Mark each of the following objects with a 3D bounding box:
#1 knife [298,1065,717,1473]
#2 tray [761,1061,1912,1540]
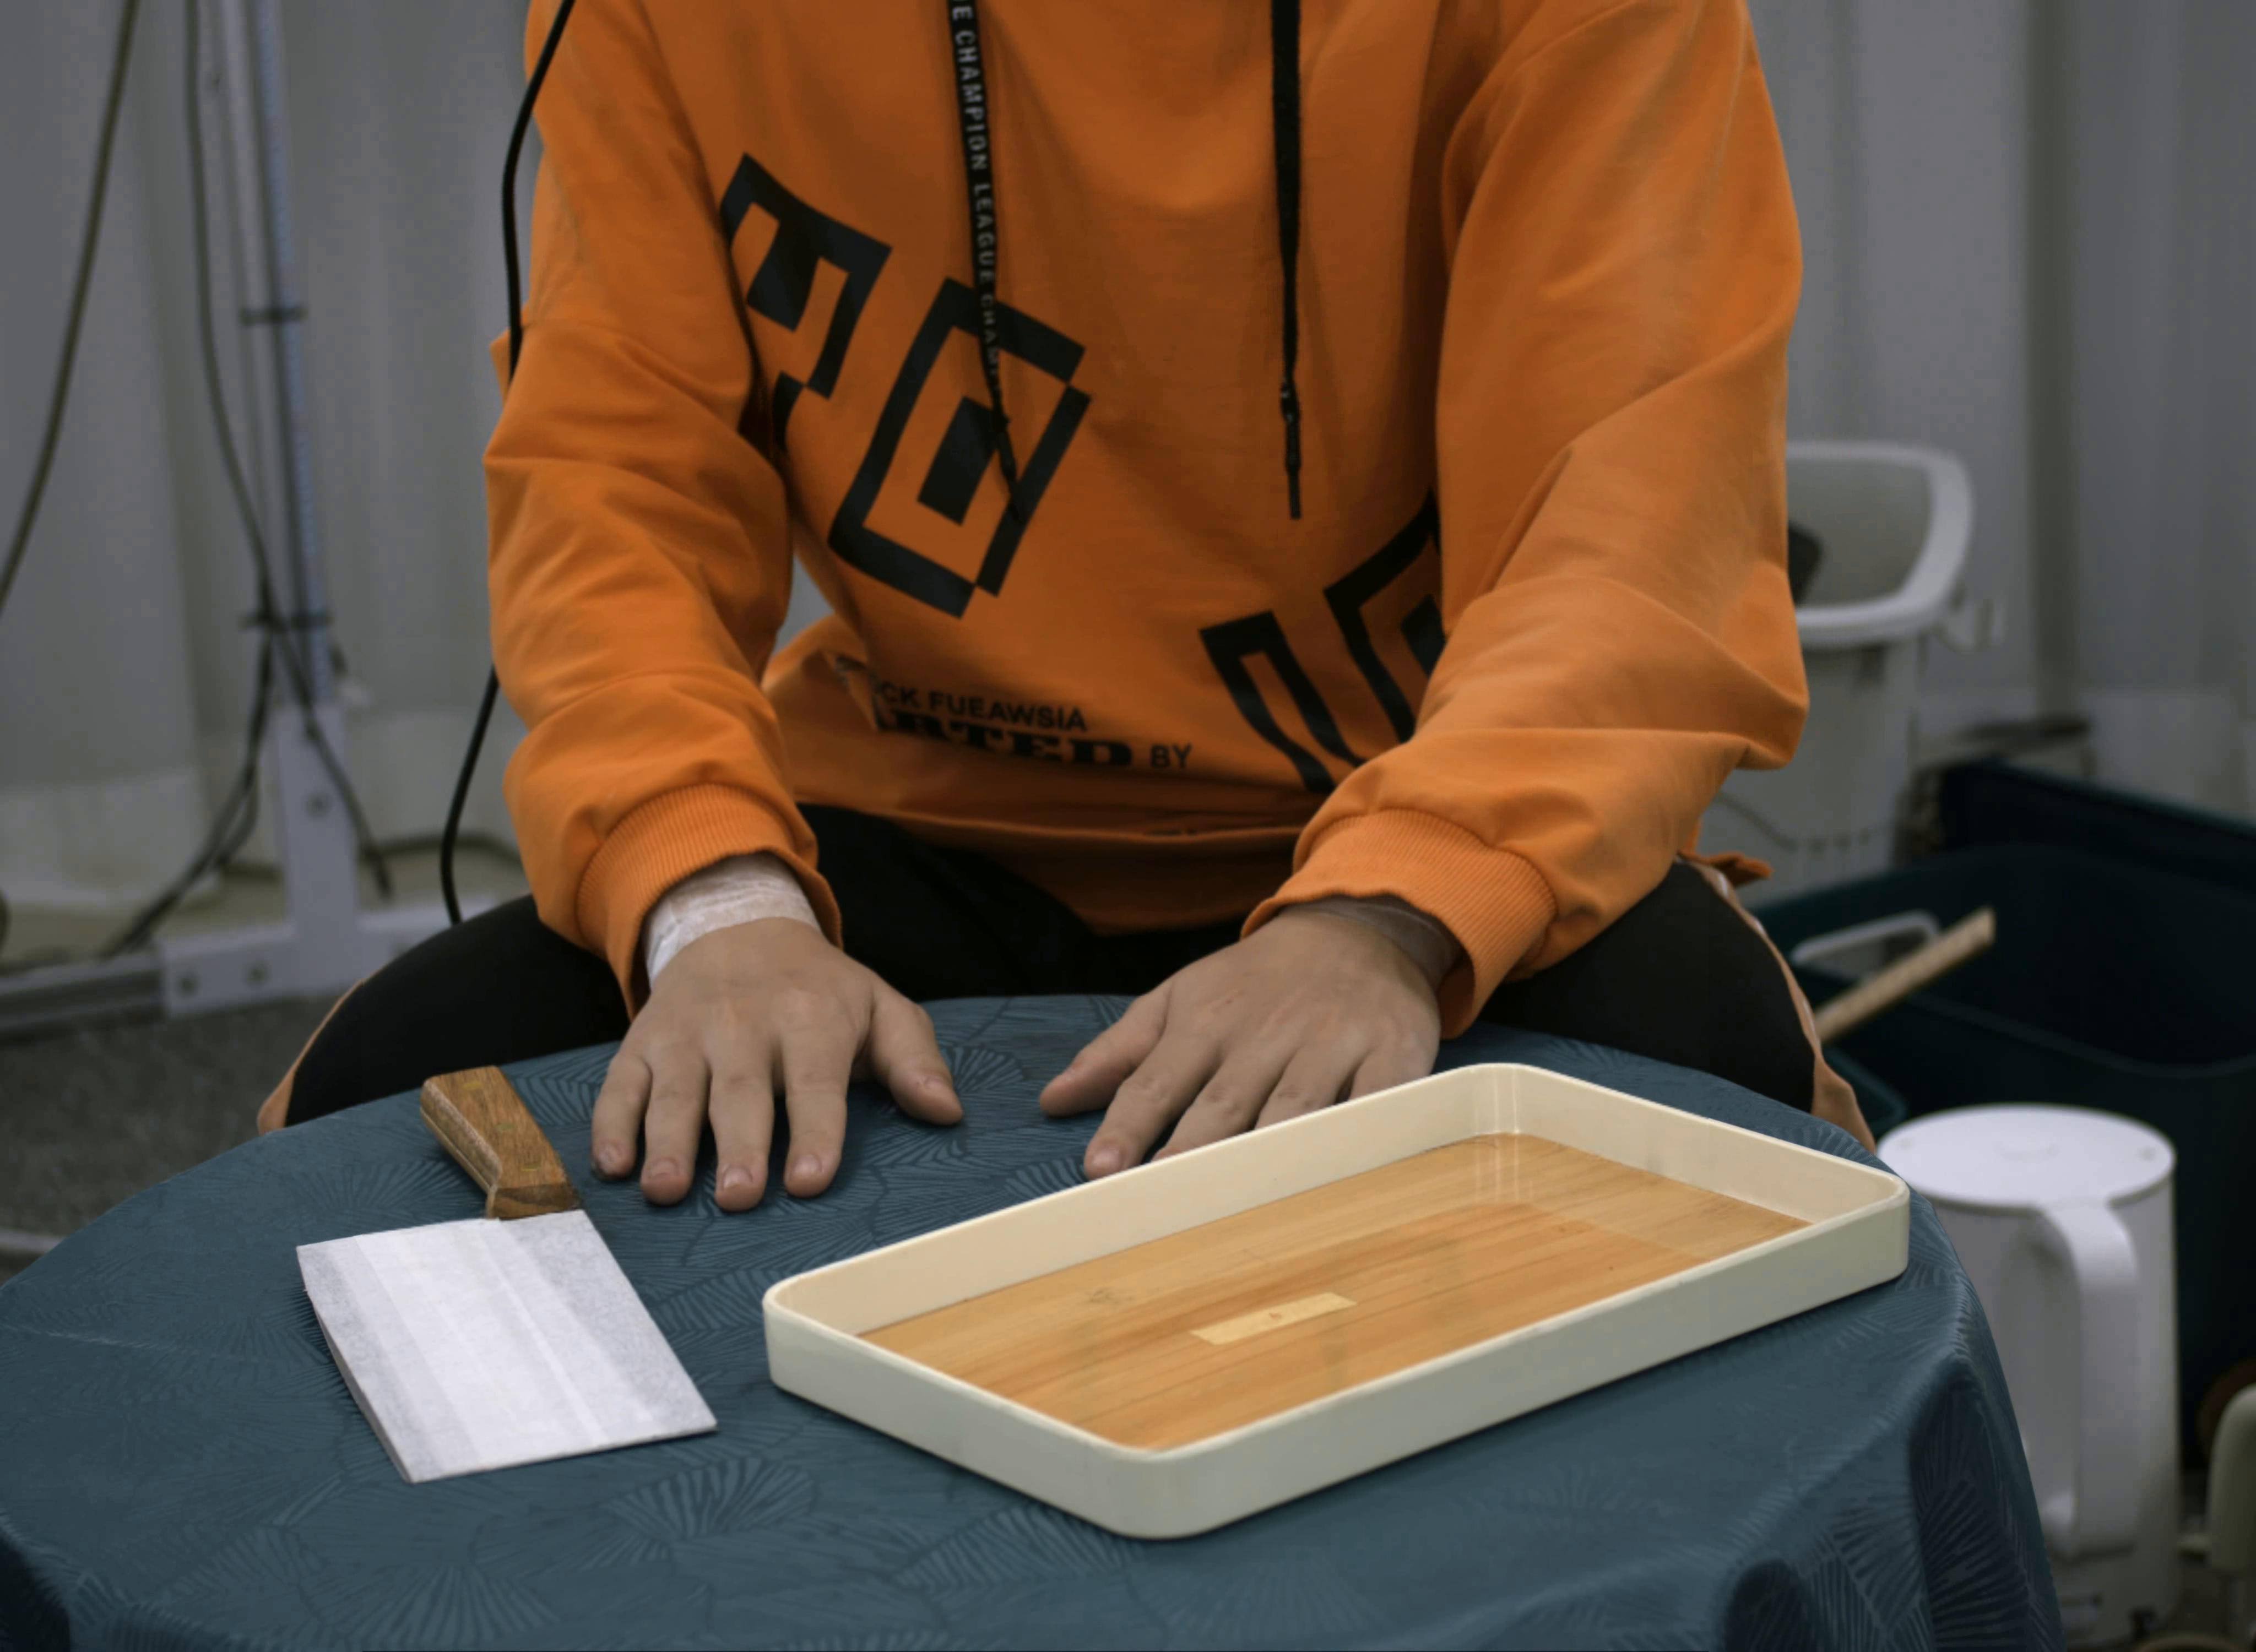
[{"bbox_3d":[-0.201,0.133,1.657,0.092,0.021,0.308,-9,18,-16],"label":"knife"},{"bbox_3d":[0.063,0.132,1.585,0.299,0.027,0.193,-15,19,-36],"label":"tray"}]
